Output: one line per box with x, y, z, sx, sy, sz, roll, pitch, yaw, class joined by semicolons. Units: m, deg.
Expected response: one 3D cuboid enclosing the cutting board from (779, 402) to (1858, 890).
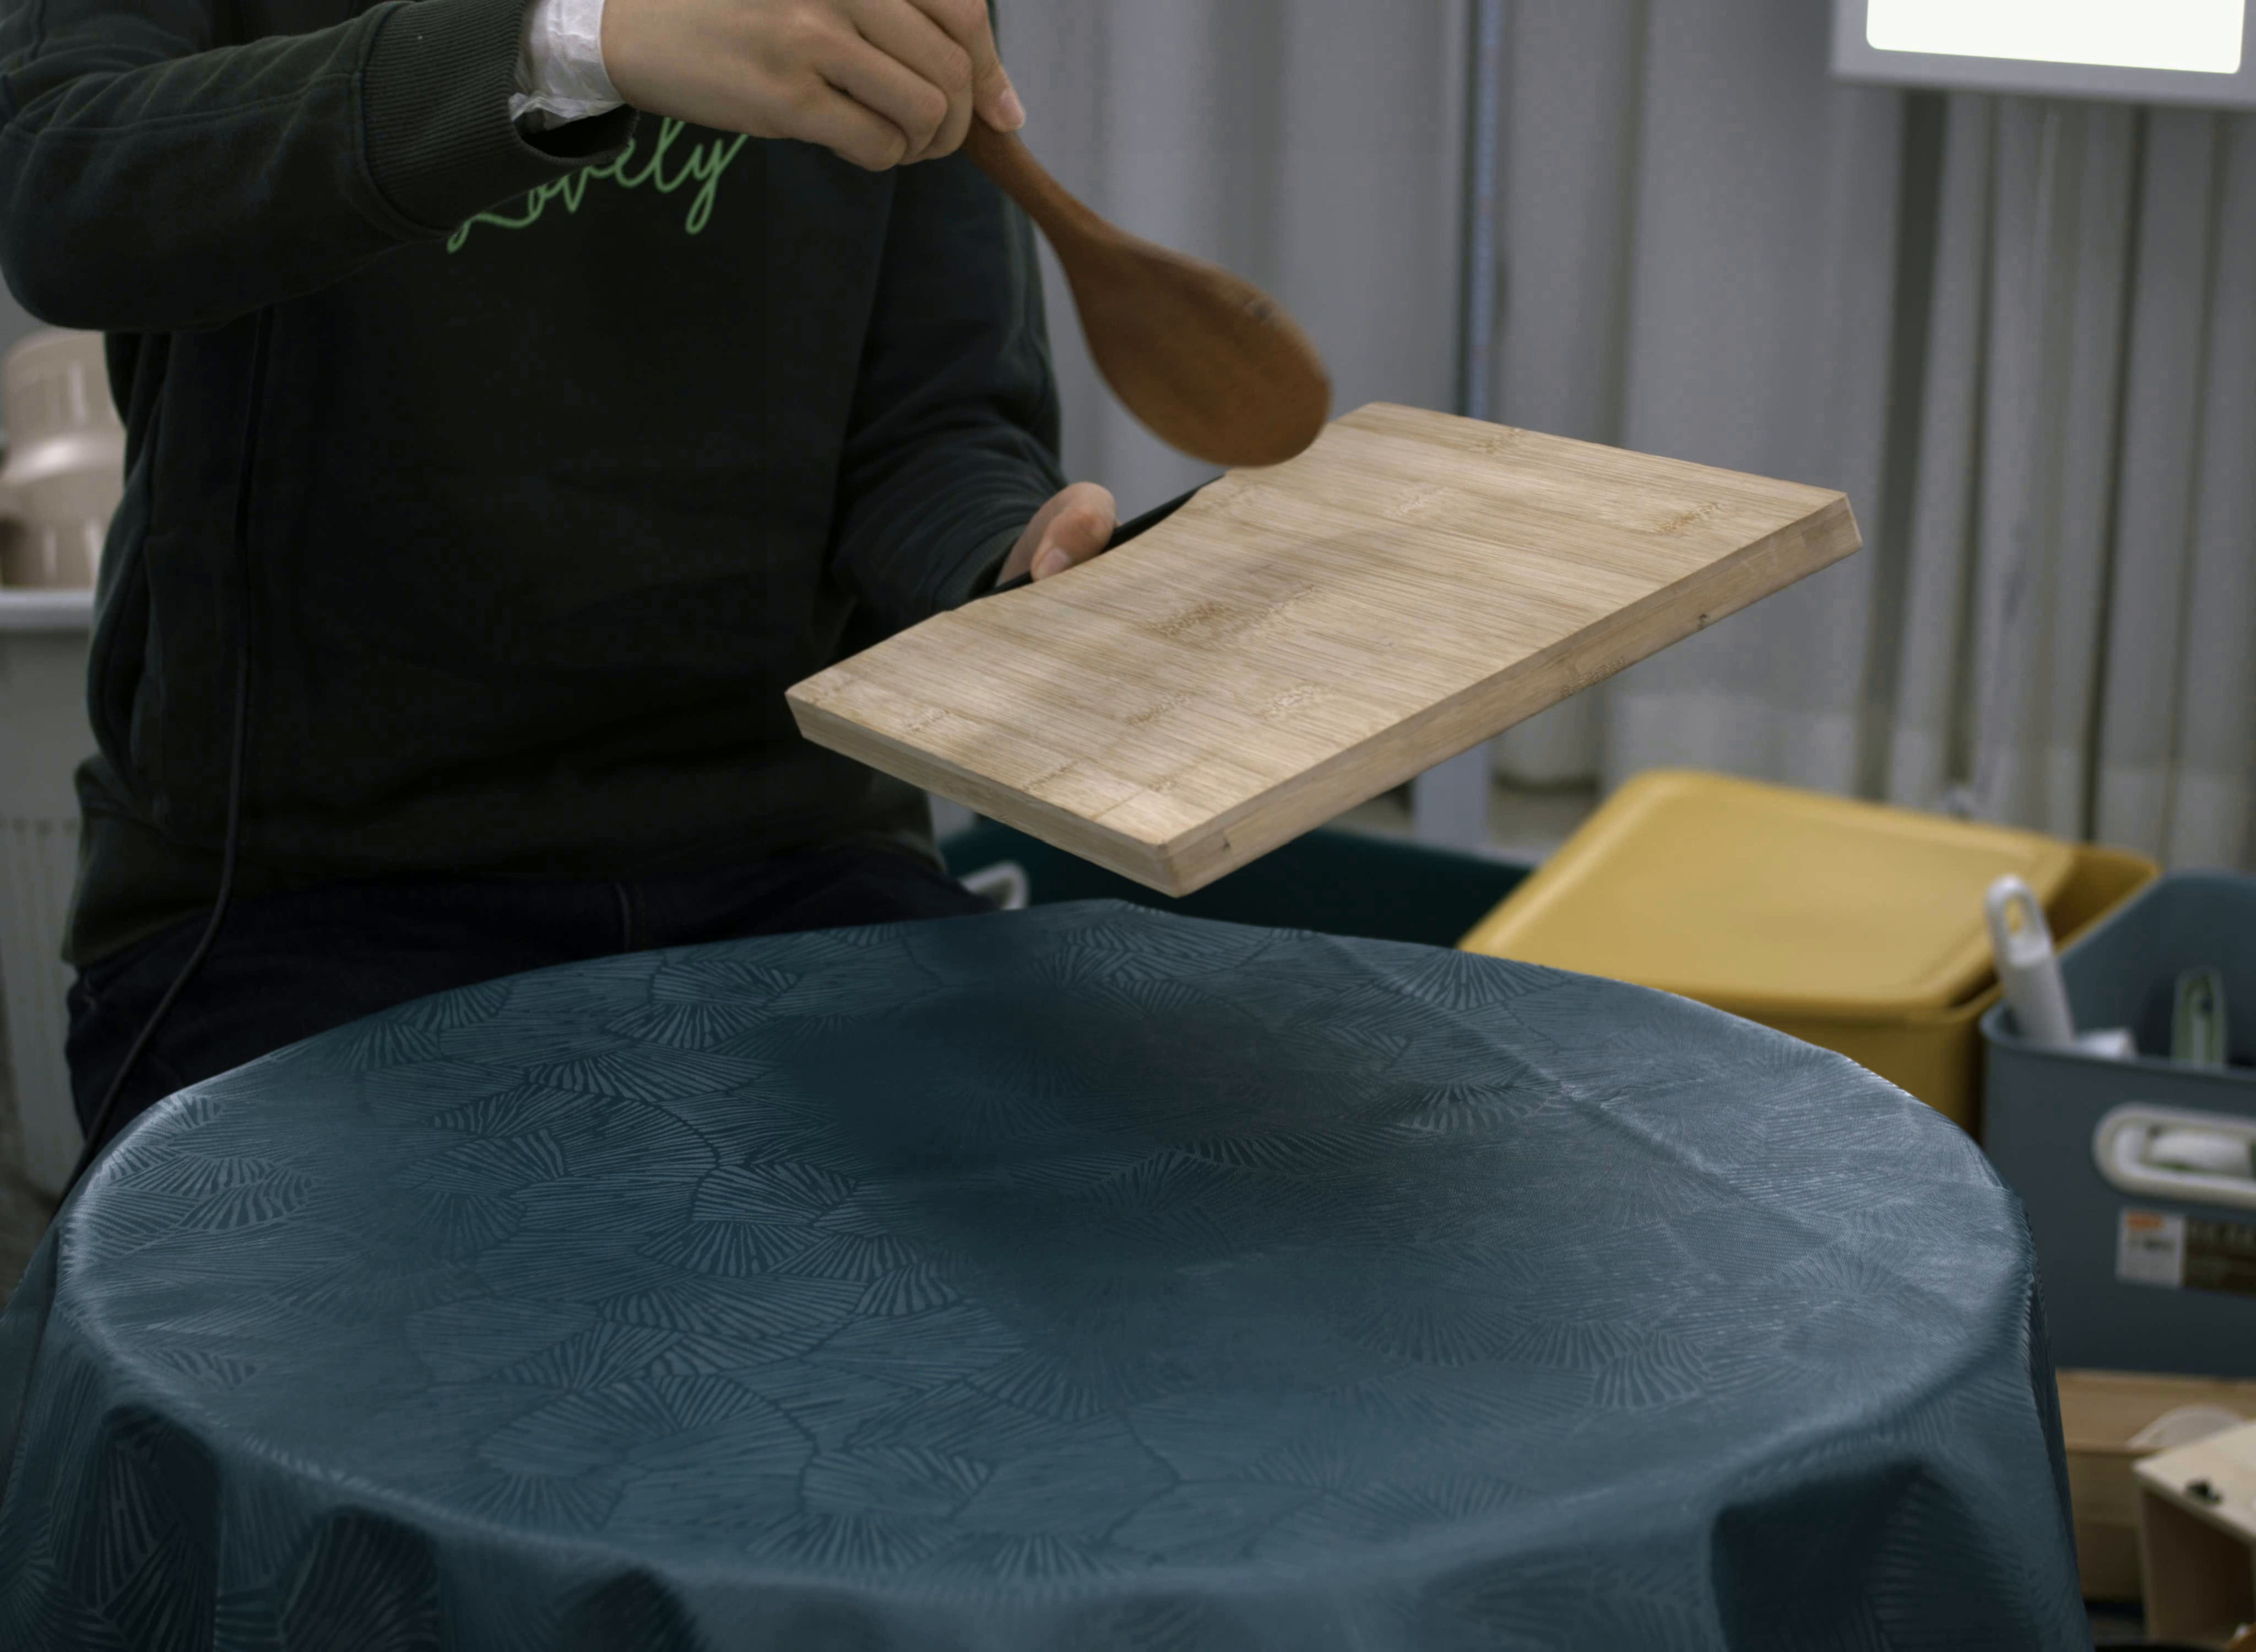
0.049;-0.065;1.679;0.251;0.024;0.345;-26;18;-17;cutting board

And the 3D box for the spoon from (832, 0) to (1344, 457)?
-0.014;-0.191;1.662;0.075;0.218;0.017;-22;31;45;spoon
